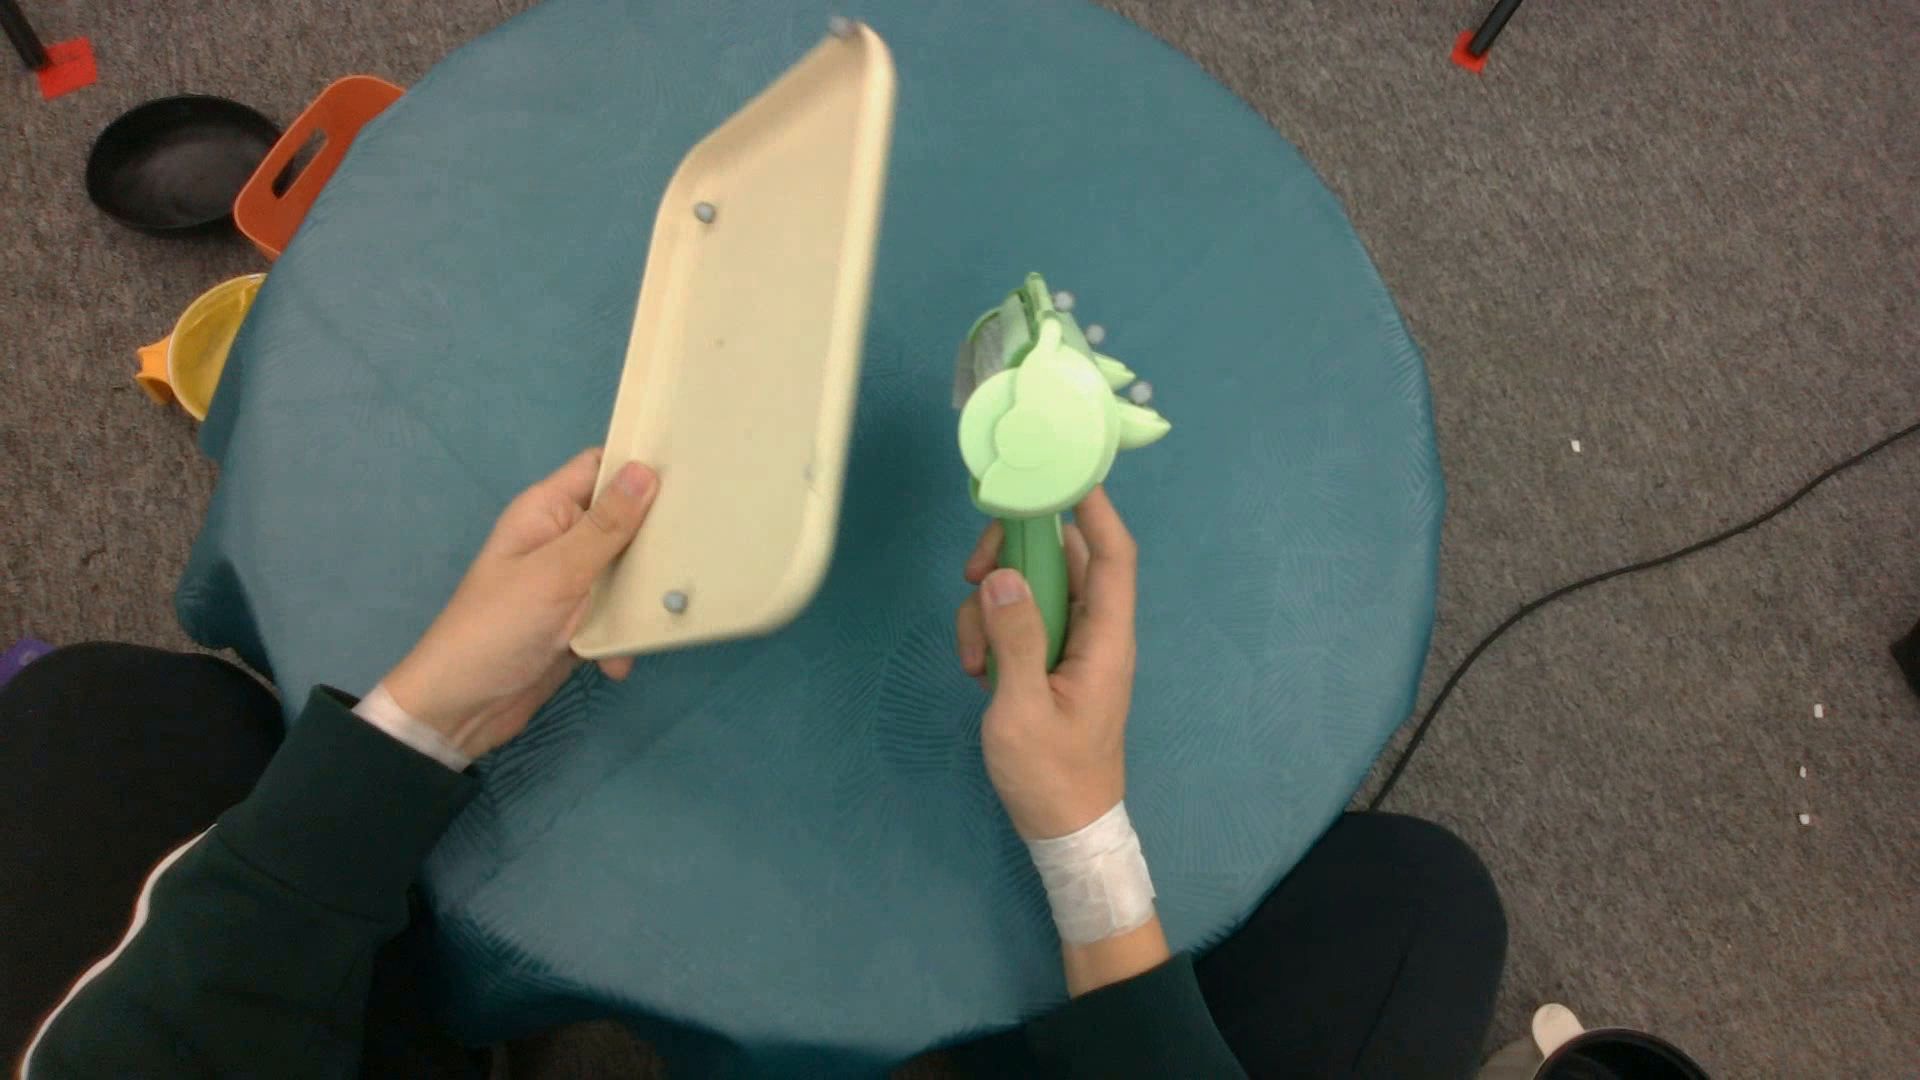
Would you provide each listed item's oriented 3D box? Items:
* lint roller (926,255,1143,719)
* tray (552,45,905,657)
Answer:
[{"bbox_3d":[0.033,-0.017,0.557,0.082,0.199,0.183,-12,106,2],"label":"lint roller"},{"bbox_3d":[-0.091,-0.072,0.547,0.017,0.170,0.240,25,64,-41],"label":"tray"}]
